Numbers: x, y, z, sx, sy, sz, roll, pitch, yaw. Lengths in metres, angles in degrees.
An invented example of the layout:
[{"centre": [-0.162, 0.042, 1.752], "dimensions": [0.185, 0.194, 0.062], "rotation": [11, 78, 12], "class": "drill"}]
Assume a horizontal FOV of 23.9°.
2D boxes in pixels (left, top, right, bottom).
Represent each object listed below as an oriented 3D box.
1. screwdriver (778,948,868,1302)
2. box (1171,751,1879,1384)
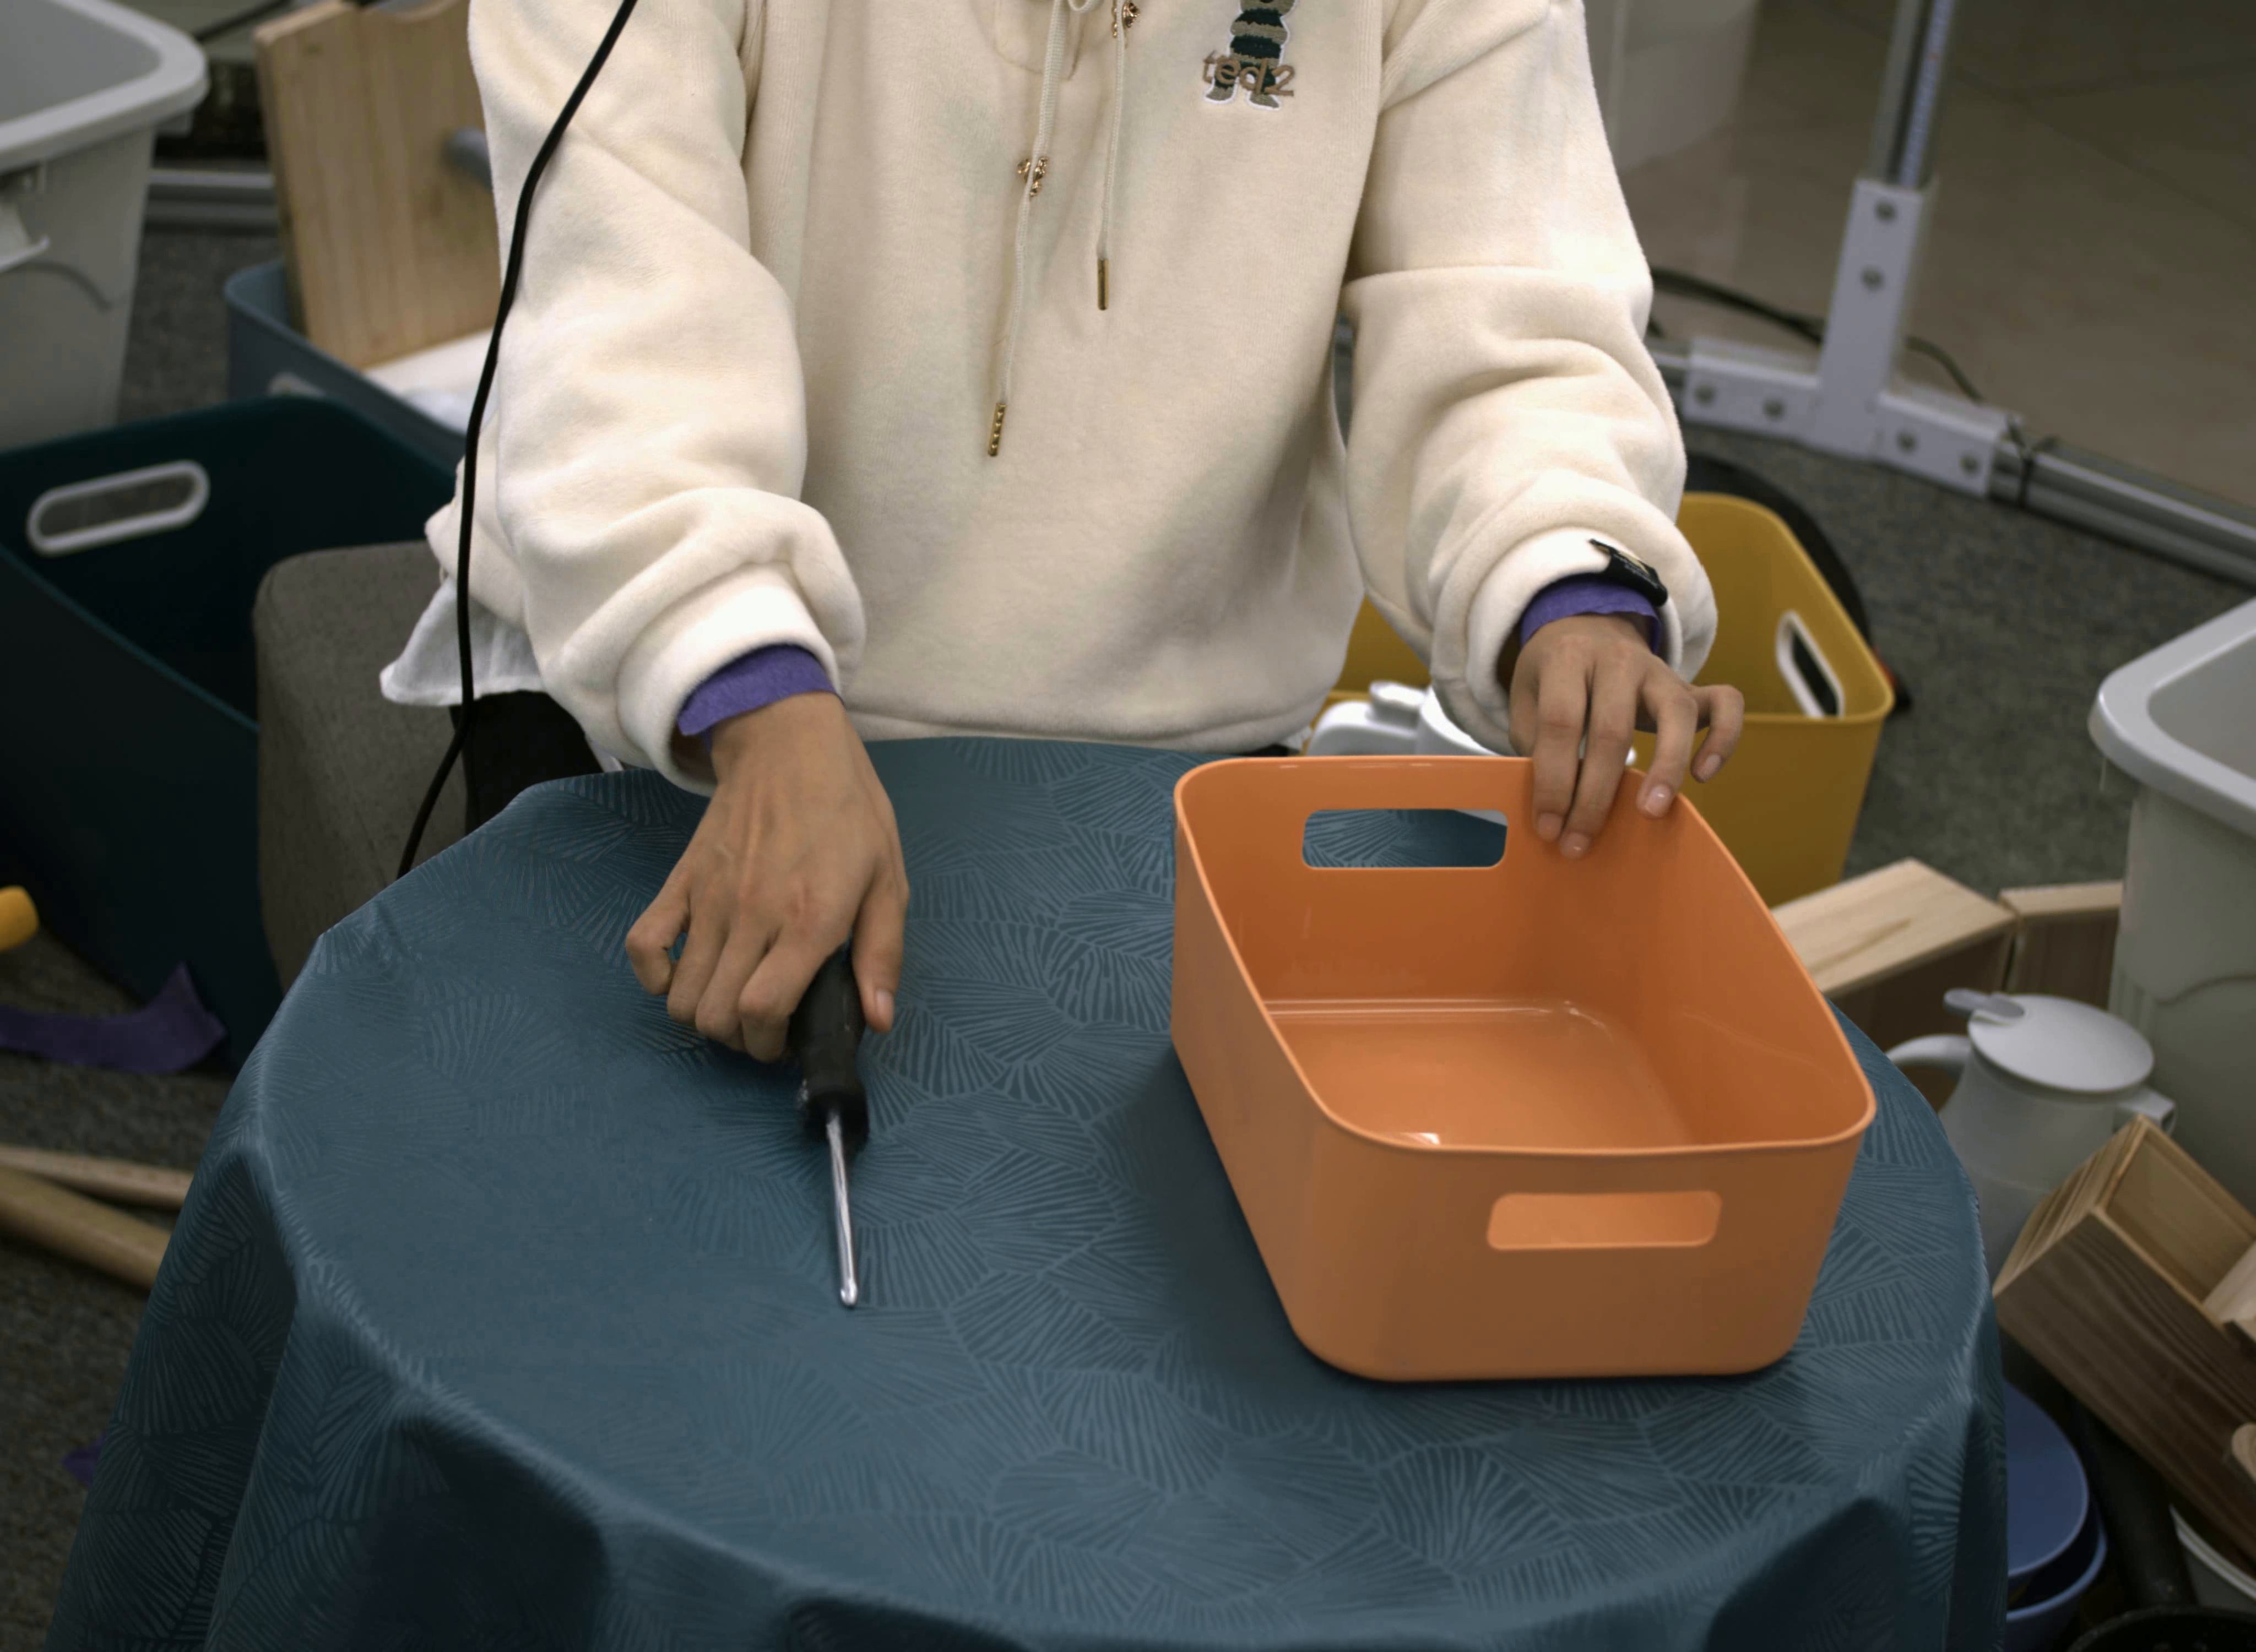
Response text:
[{"centre": [-0.102, 0.103, 1.798], "dimensions": [0.031, 0.031, 0.198], "rotation": [4, 33, -7], "class": "screwdriver"}, {"centre": [0.124, 0.081, 1.799], "dimensions": [0.198, 0.102, 0.275], "rotation": [-1, 28, -13], "class": "box"}]
